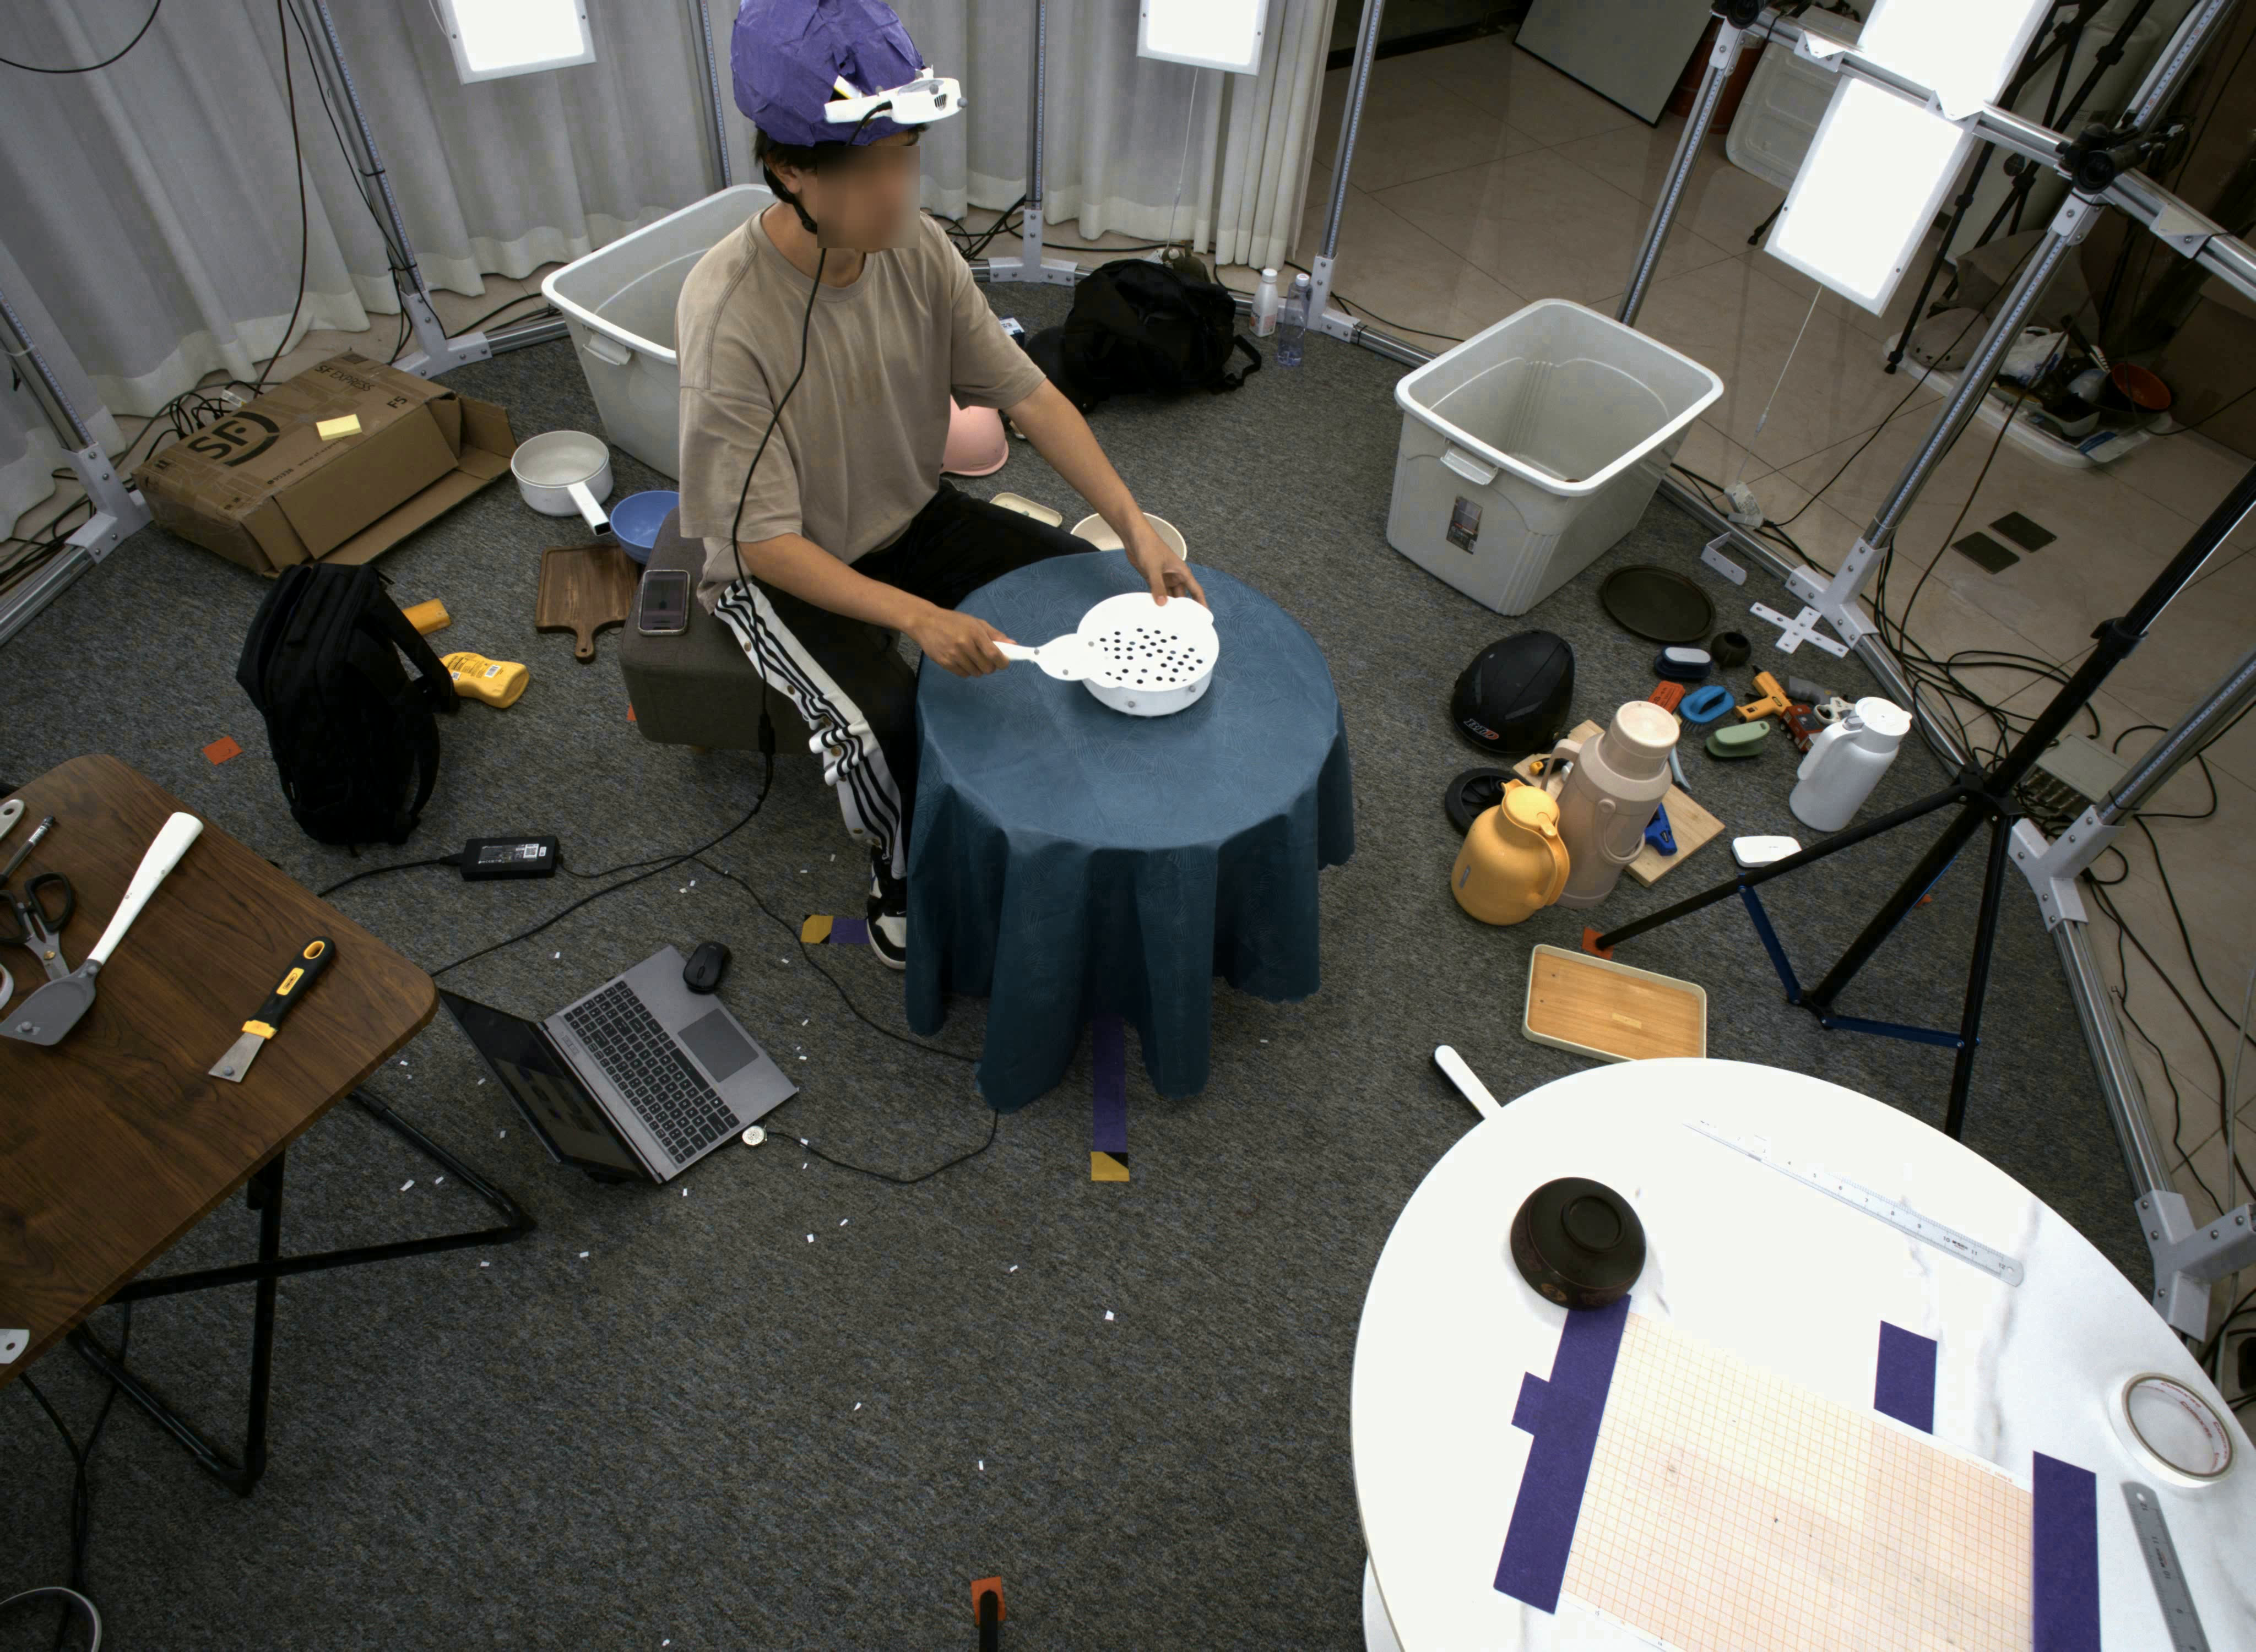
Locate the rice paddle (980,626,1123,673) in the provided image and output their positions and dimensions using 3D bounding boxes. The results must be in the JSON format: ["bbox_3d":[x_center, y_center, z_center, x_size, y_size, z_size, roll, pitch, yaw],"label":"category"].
[{"bbox_3d":[-0.100,-0.237,1.697,0.206,0.029,0.070,7,69,25],"label":"rice paddle"}]

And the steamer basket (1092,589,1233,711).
[{"bbox_3d":[0.046,-0.250,1.832,0.205,0.067,0.233,38,54,24],"label":"steamer basket"}]
